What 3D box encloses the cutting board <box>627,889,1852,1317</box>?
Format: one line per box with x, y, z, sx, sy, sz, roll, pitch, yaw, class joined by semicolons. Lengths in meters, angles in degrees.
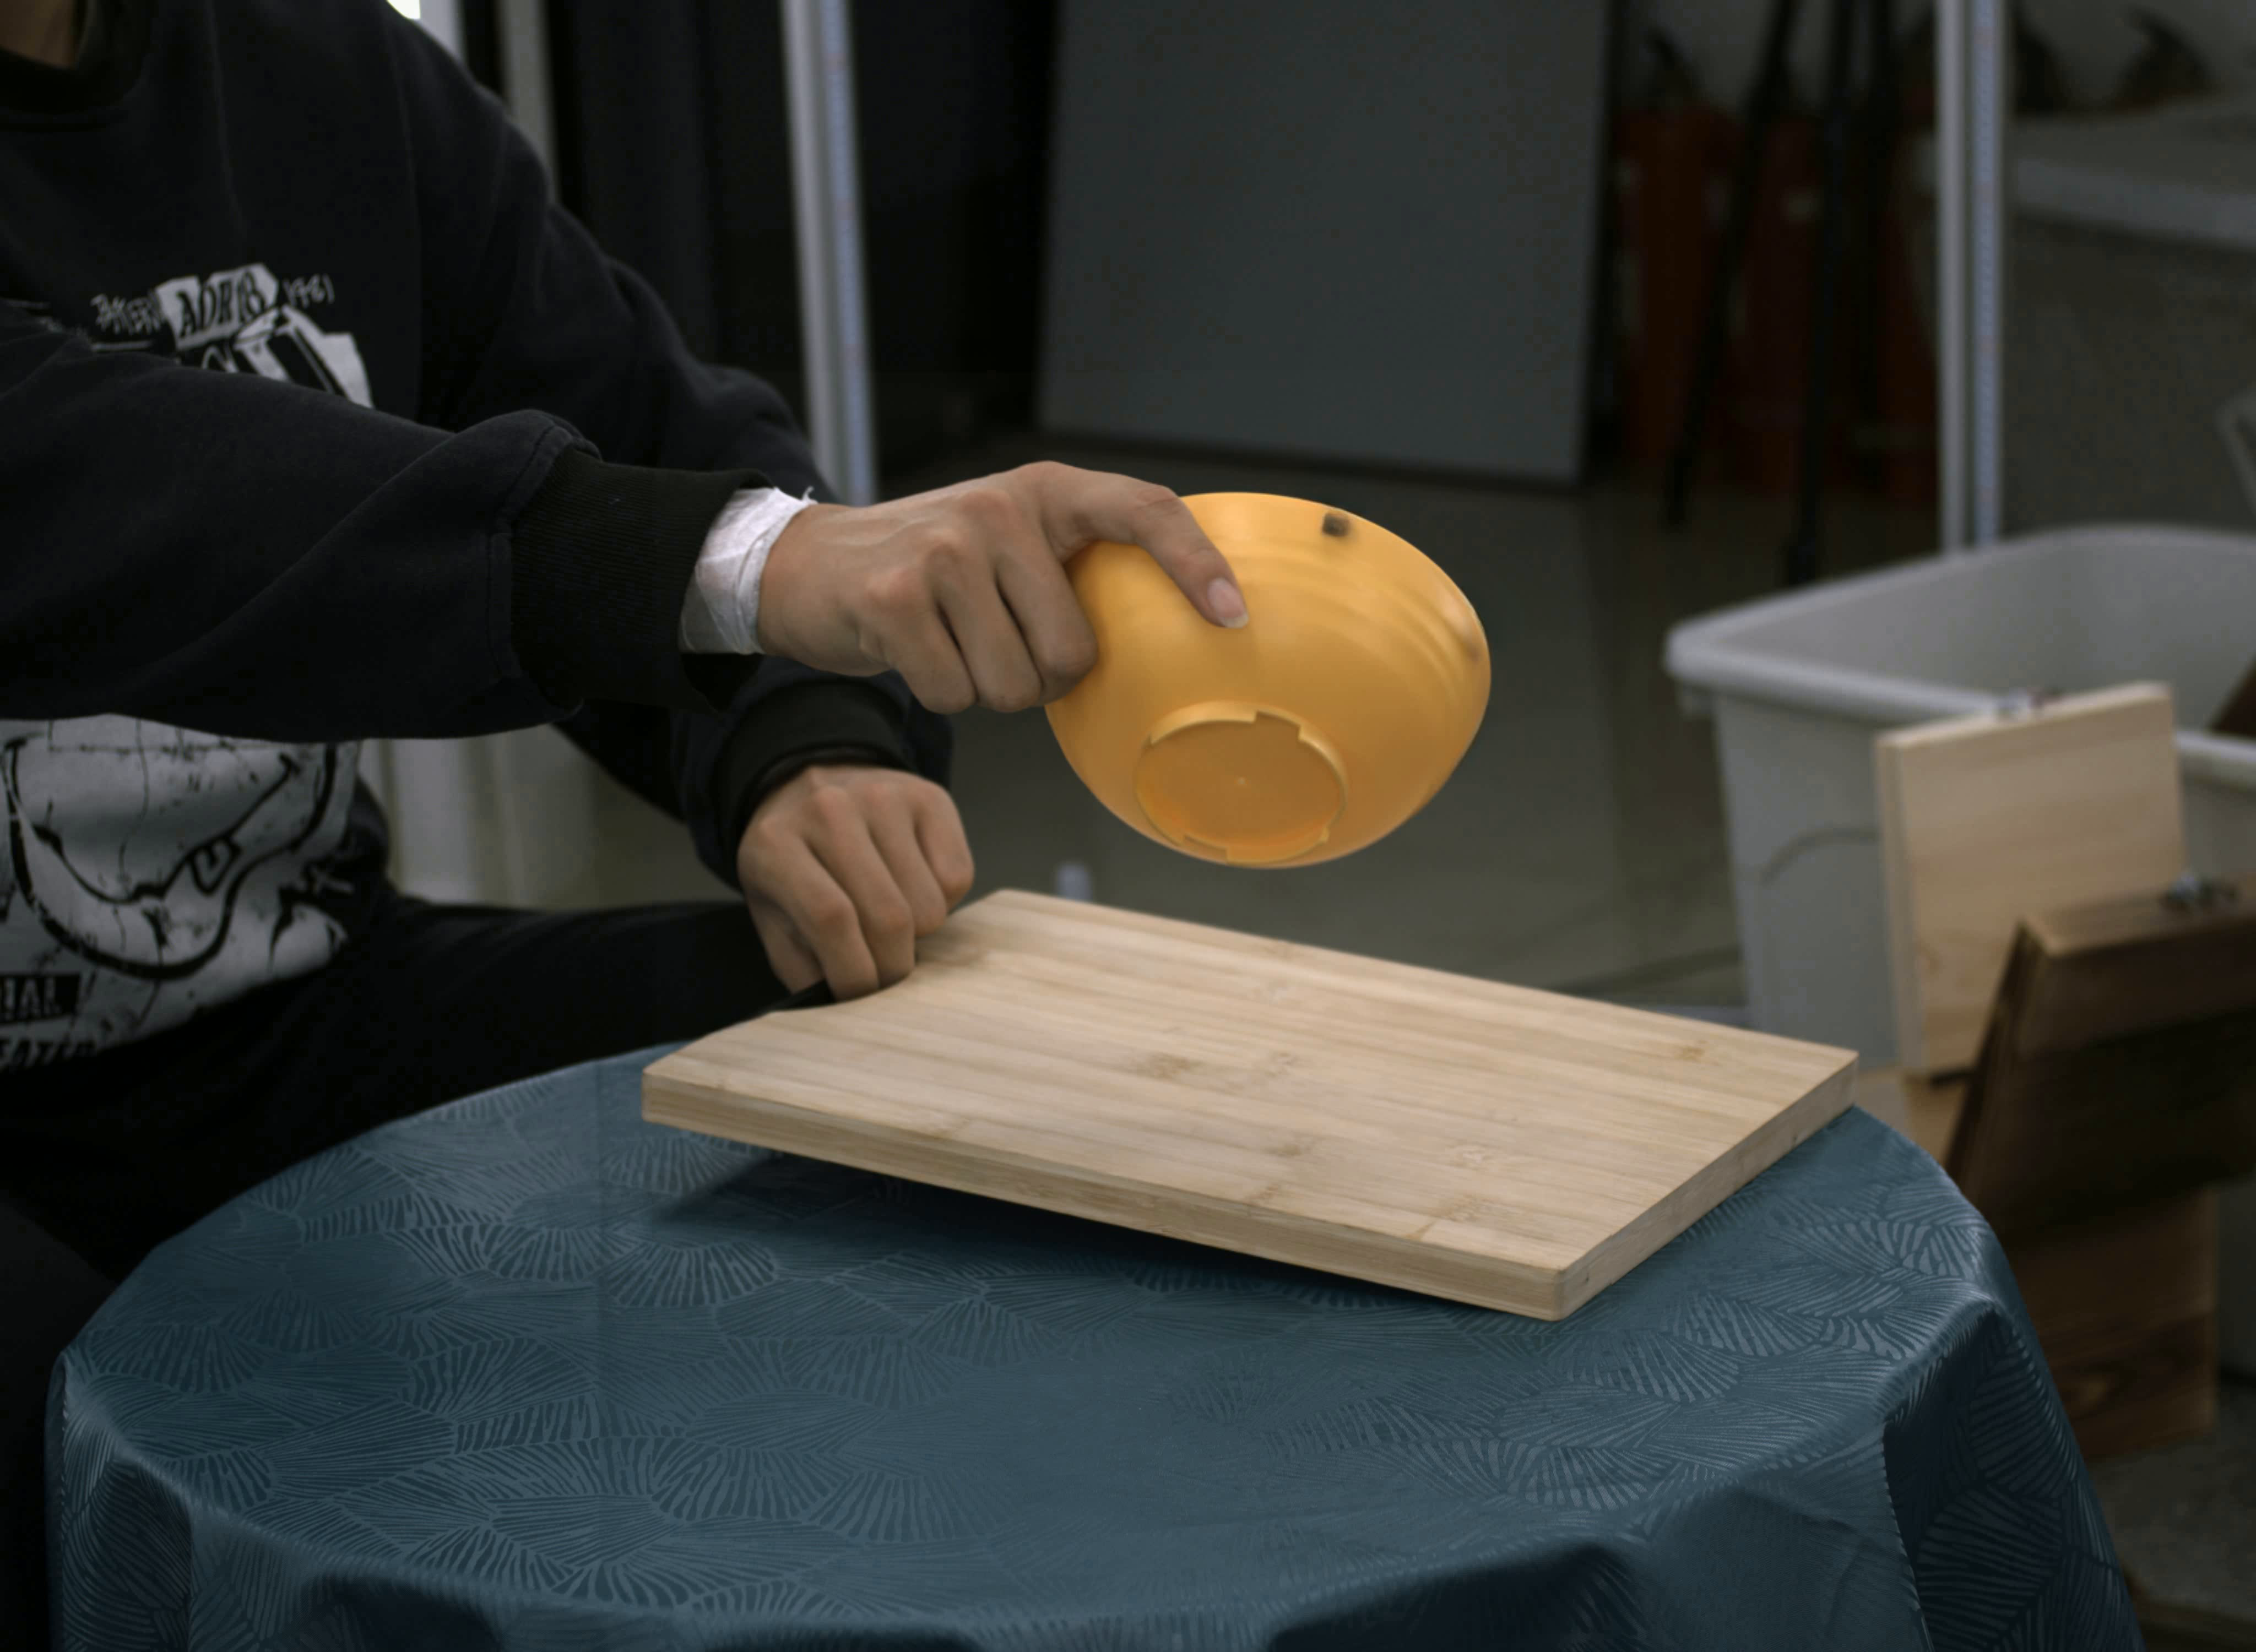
0.039;0.087;1.801;0.350;0.024;0.247;9;19;28;cutting board

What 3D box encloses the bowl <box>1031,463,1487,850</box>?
0.036;-0.037;1.643;0.144;0.145;0.060;0;47;14;bowl
